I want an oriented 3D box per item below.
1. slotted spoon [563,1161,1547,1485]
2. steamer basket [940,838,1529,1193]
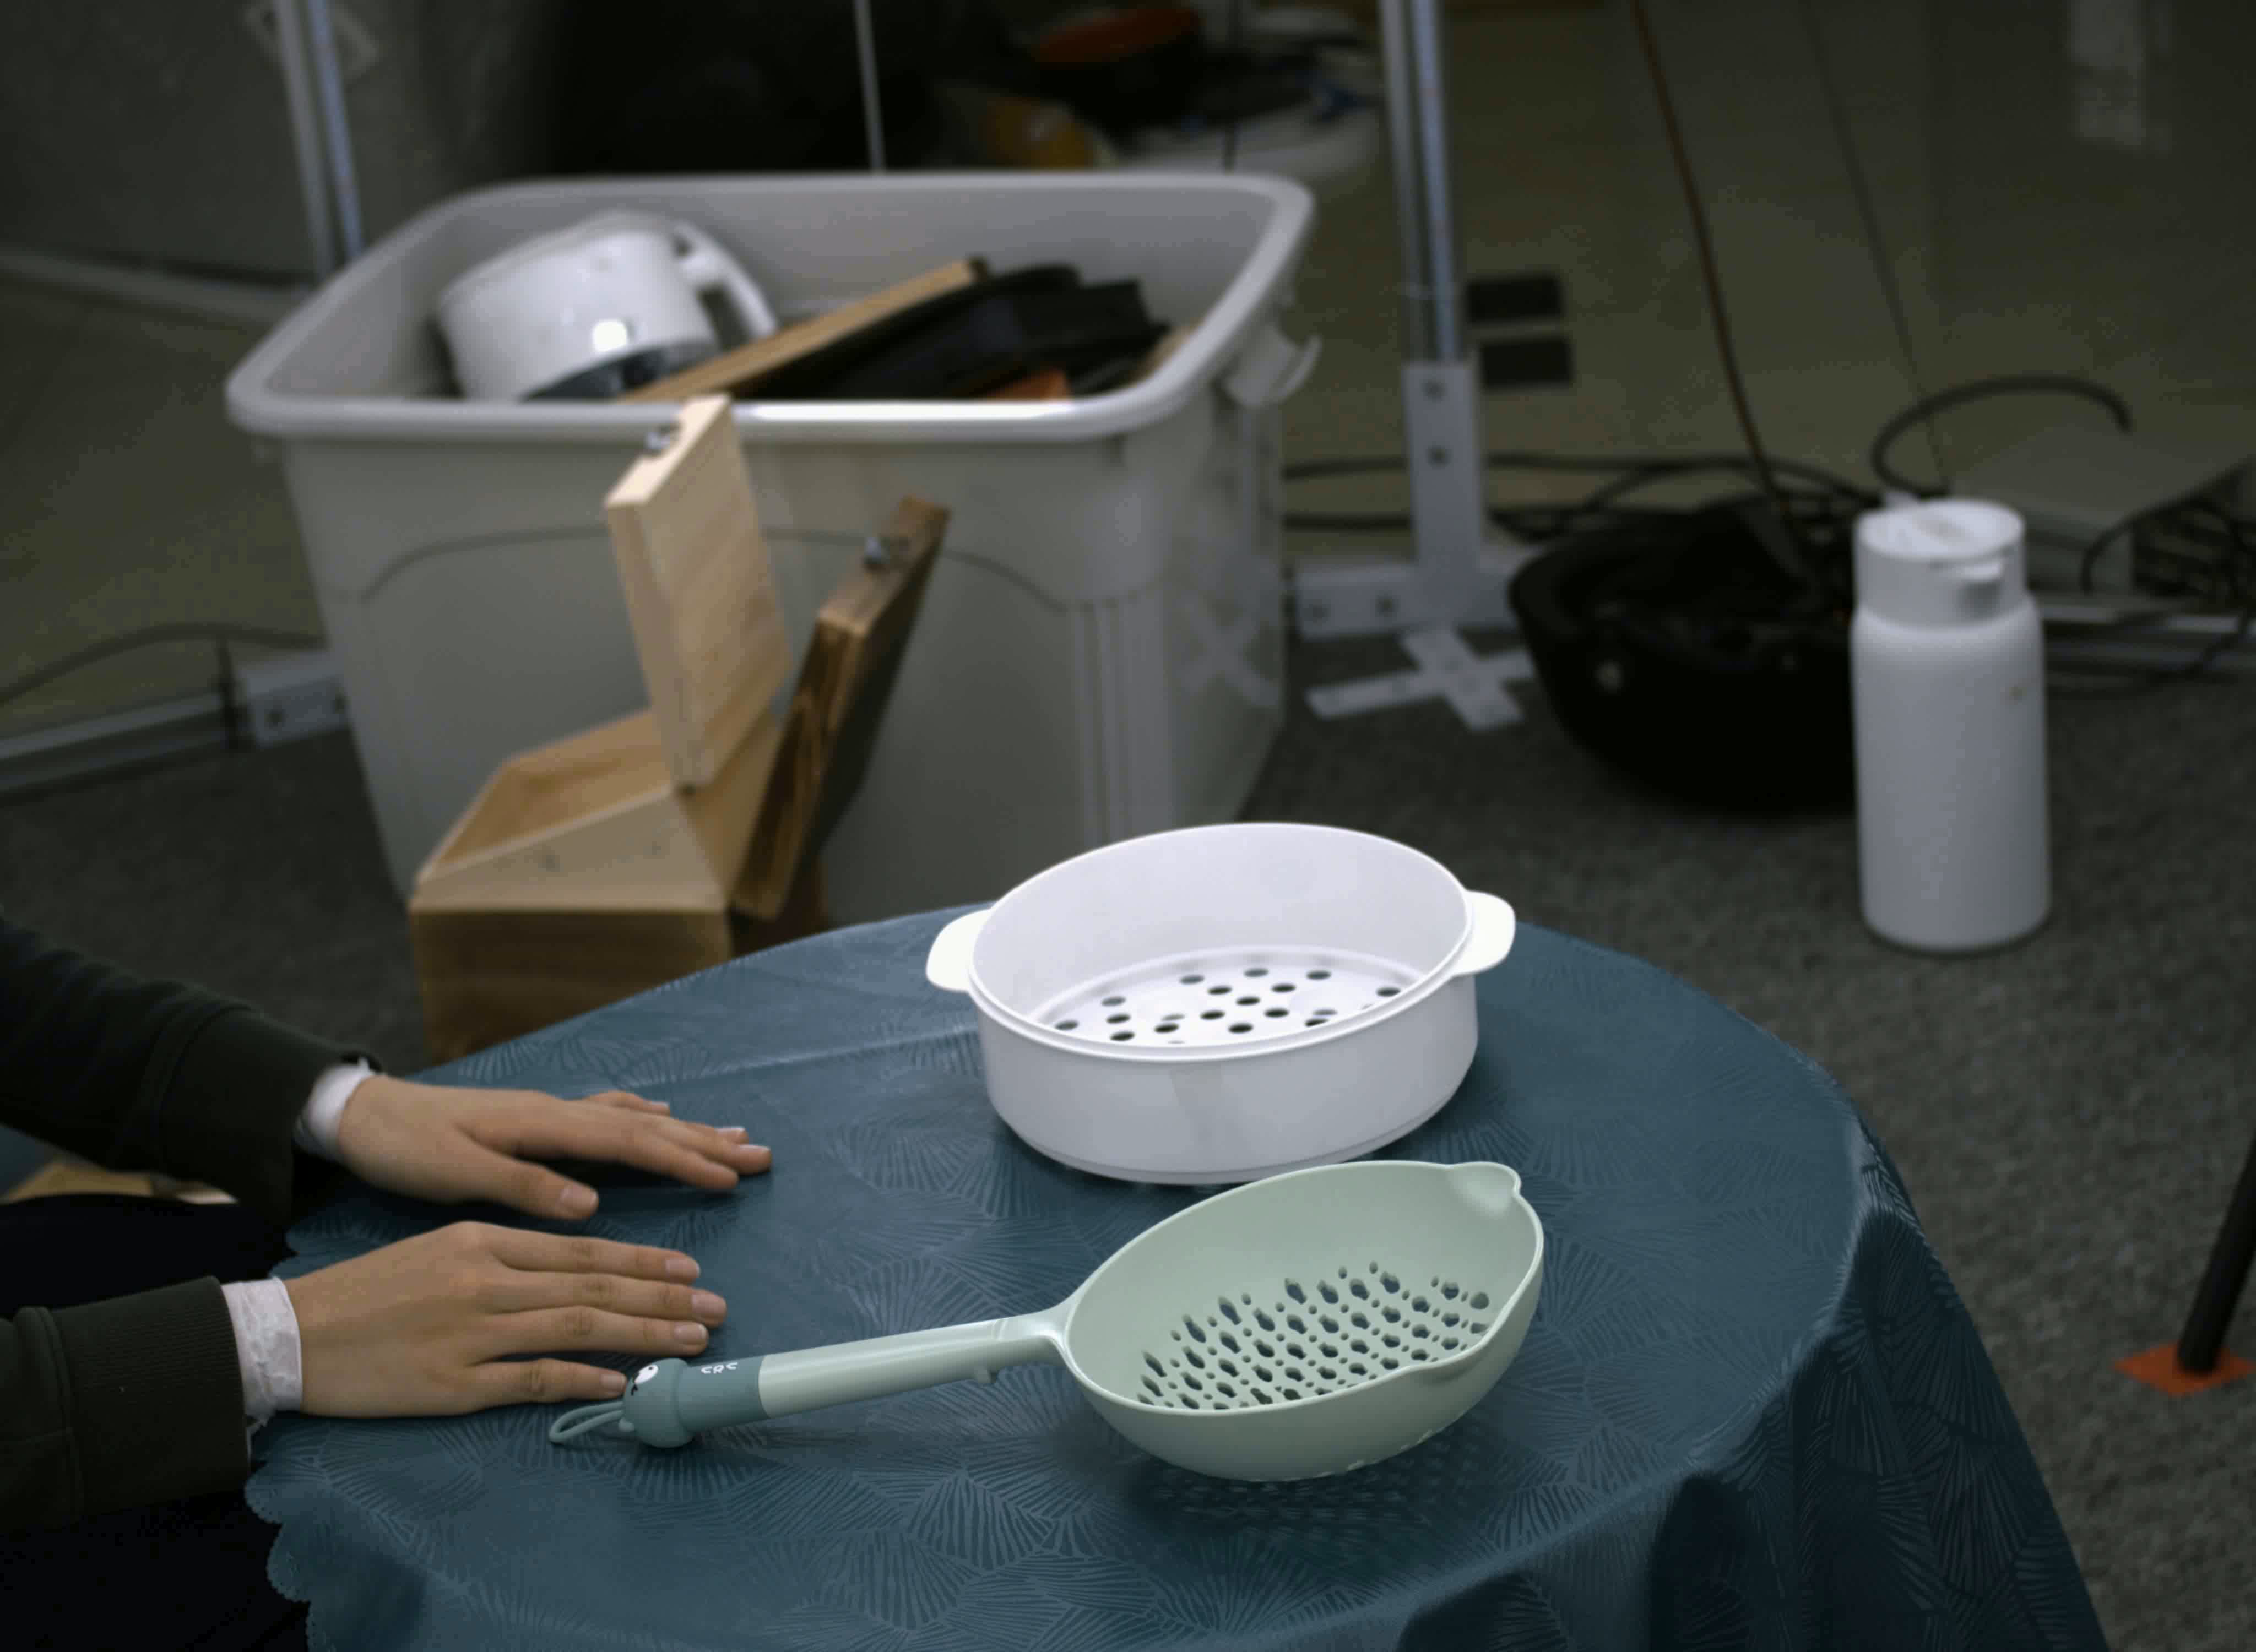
[{"bbox_3d":[-0.030,0.184,1.985,0.358,0.076,0.167,-2,25,10],"label":"slotted spoon"},{"bbox_3d":[0.044,0.074,2.209,0.230,0.070,0.199,-4,23,9],"label":"steamer basket"}]
